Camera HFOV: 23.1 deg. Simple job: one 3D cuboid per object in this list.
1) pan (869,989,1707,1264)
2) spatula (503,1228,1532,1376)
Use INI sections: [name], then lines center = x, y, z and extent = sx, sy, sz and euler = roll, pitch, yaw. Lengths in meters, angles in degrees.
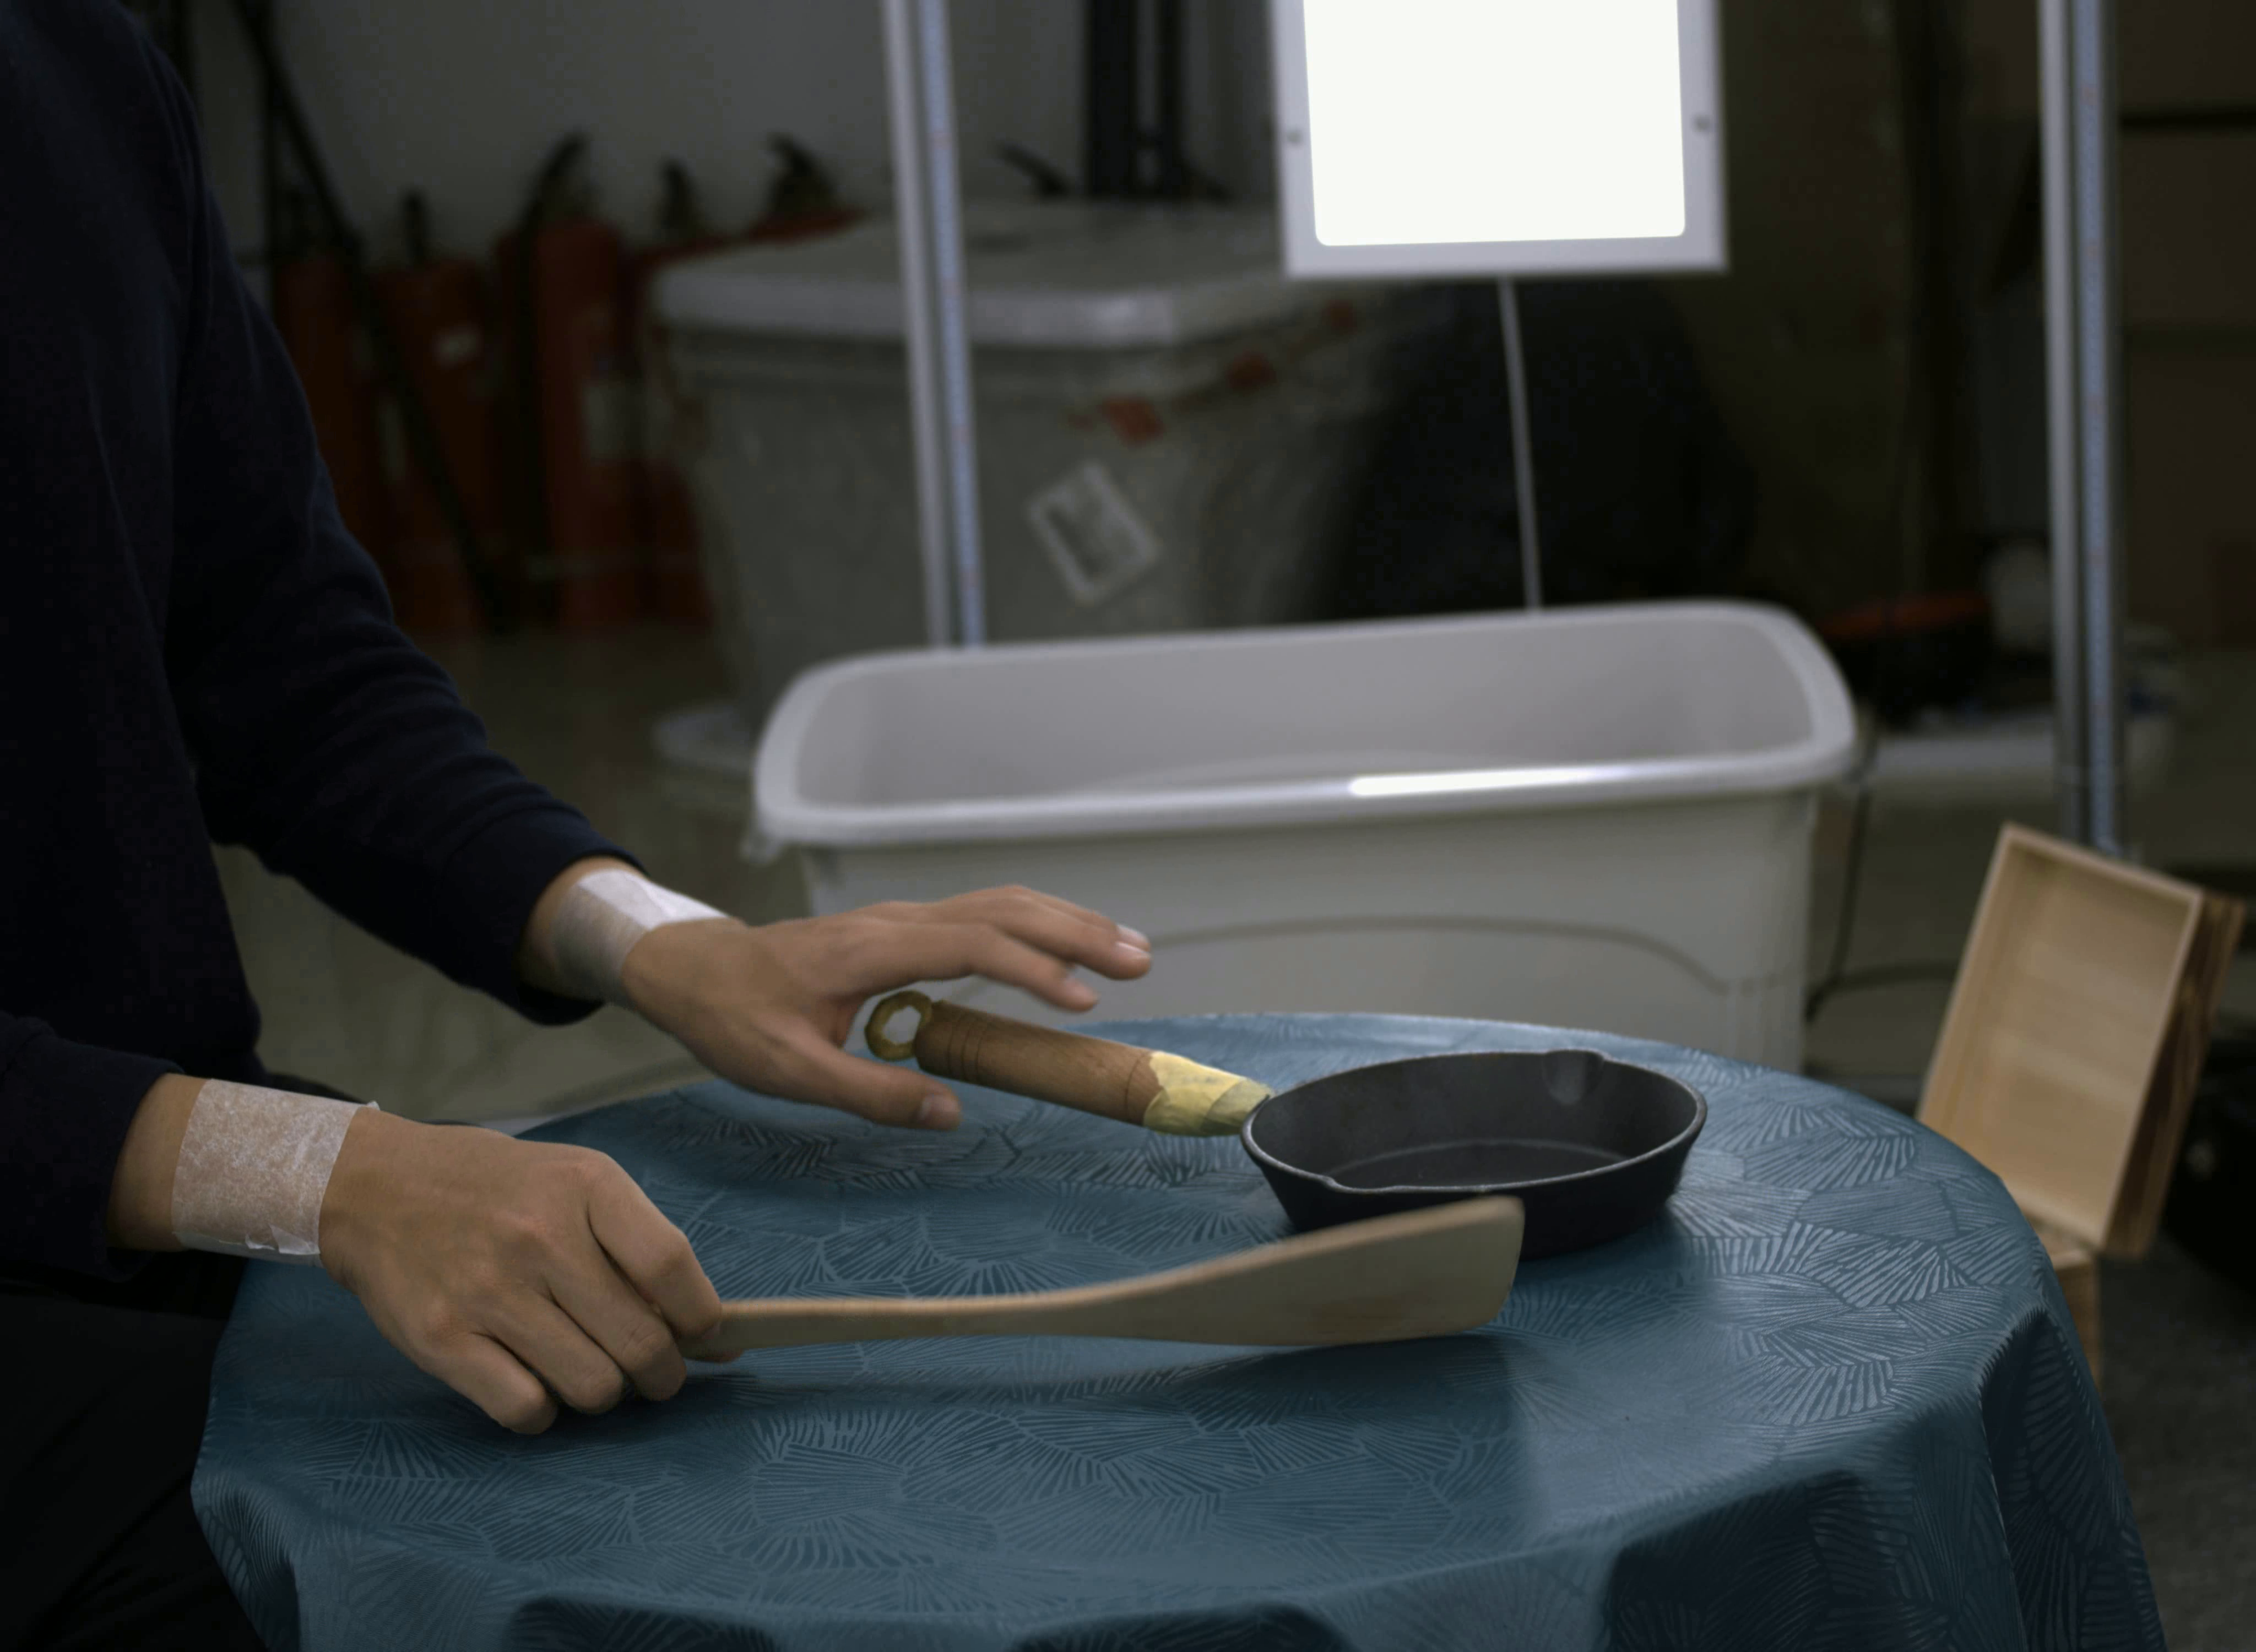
[pan]
center = 0.046, 0.098, 1.892
extent = 0.331, 0.050, 0.165
euler = 7, 18, 35
[spatula]
center = -0.035, 0.153, 1.715
extent = 0.329, 0.016, 0.079
euler = -4, -24, 10
